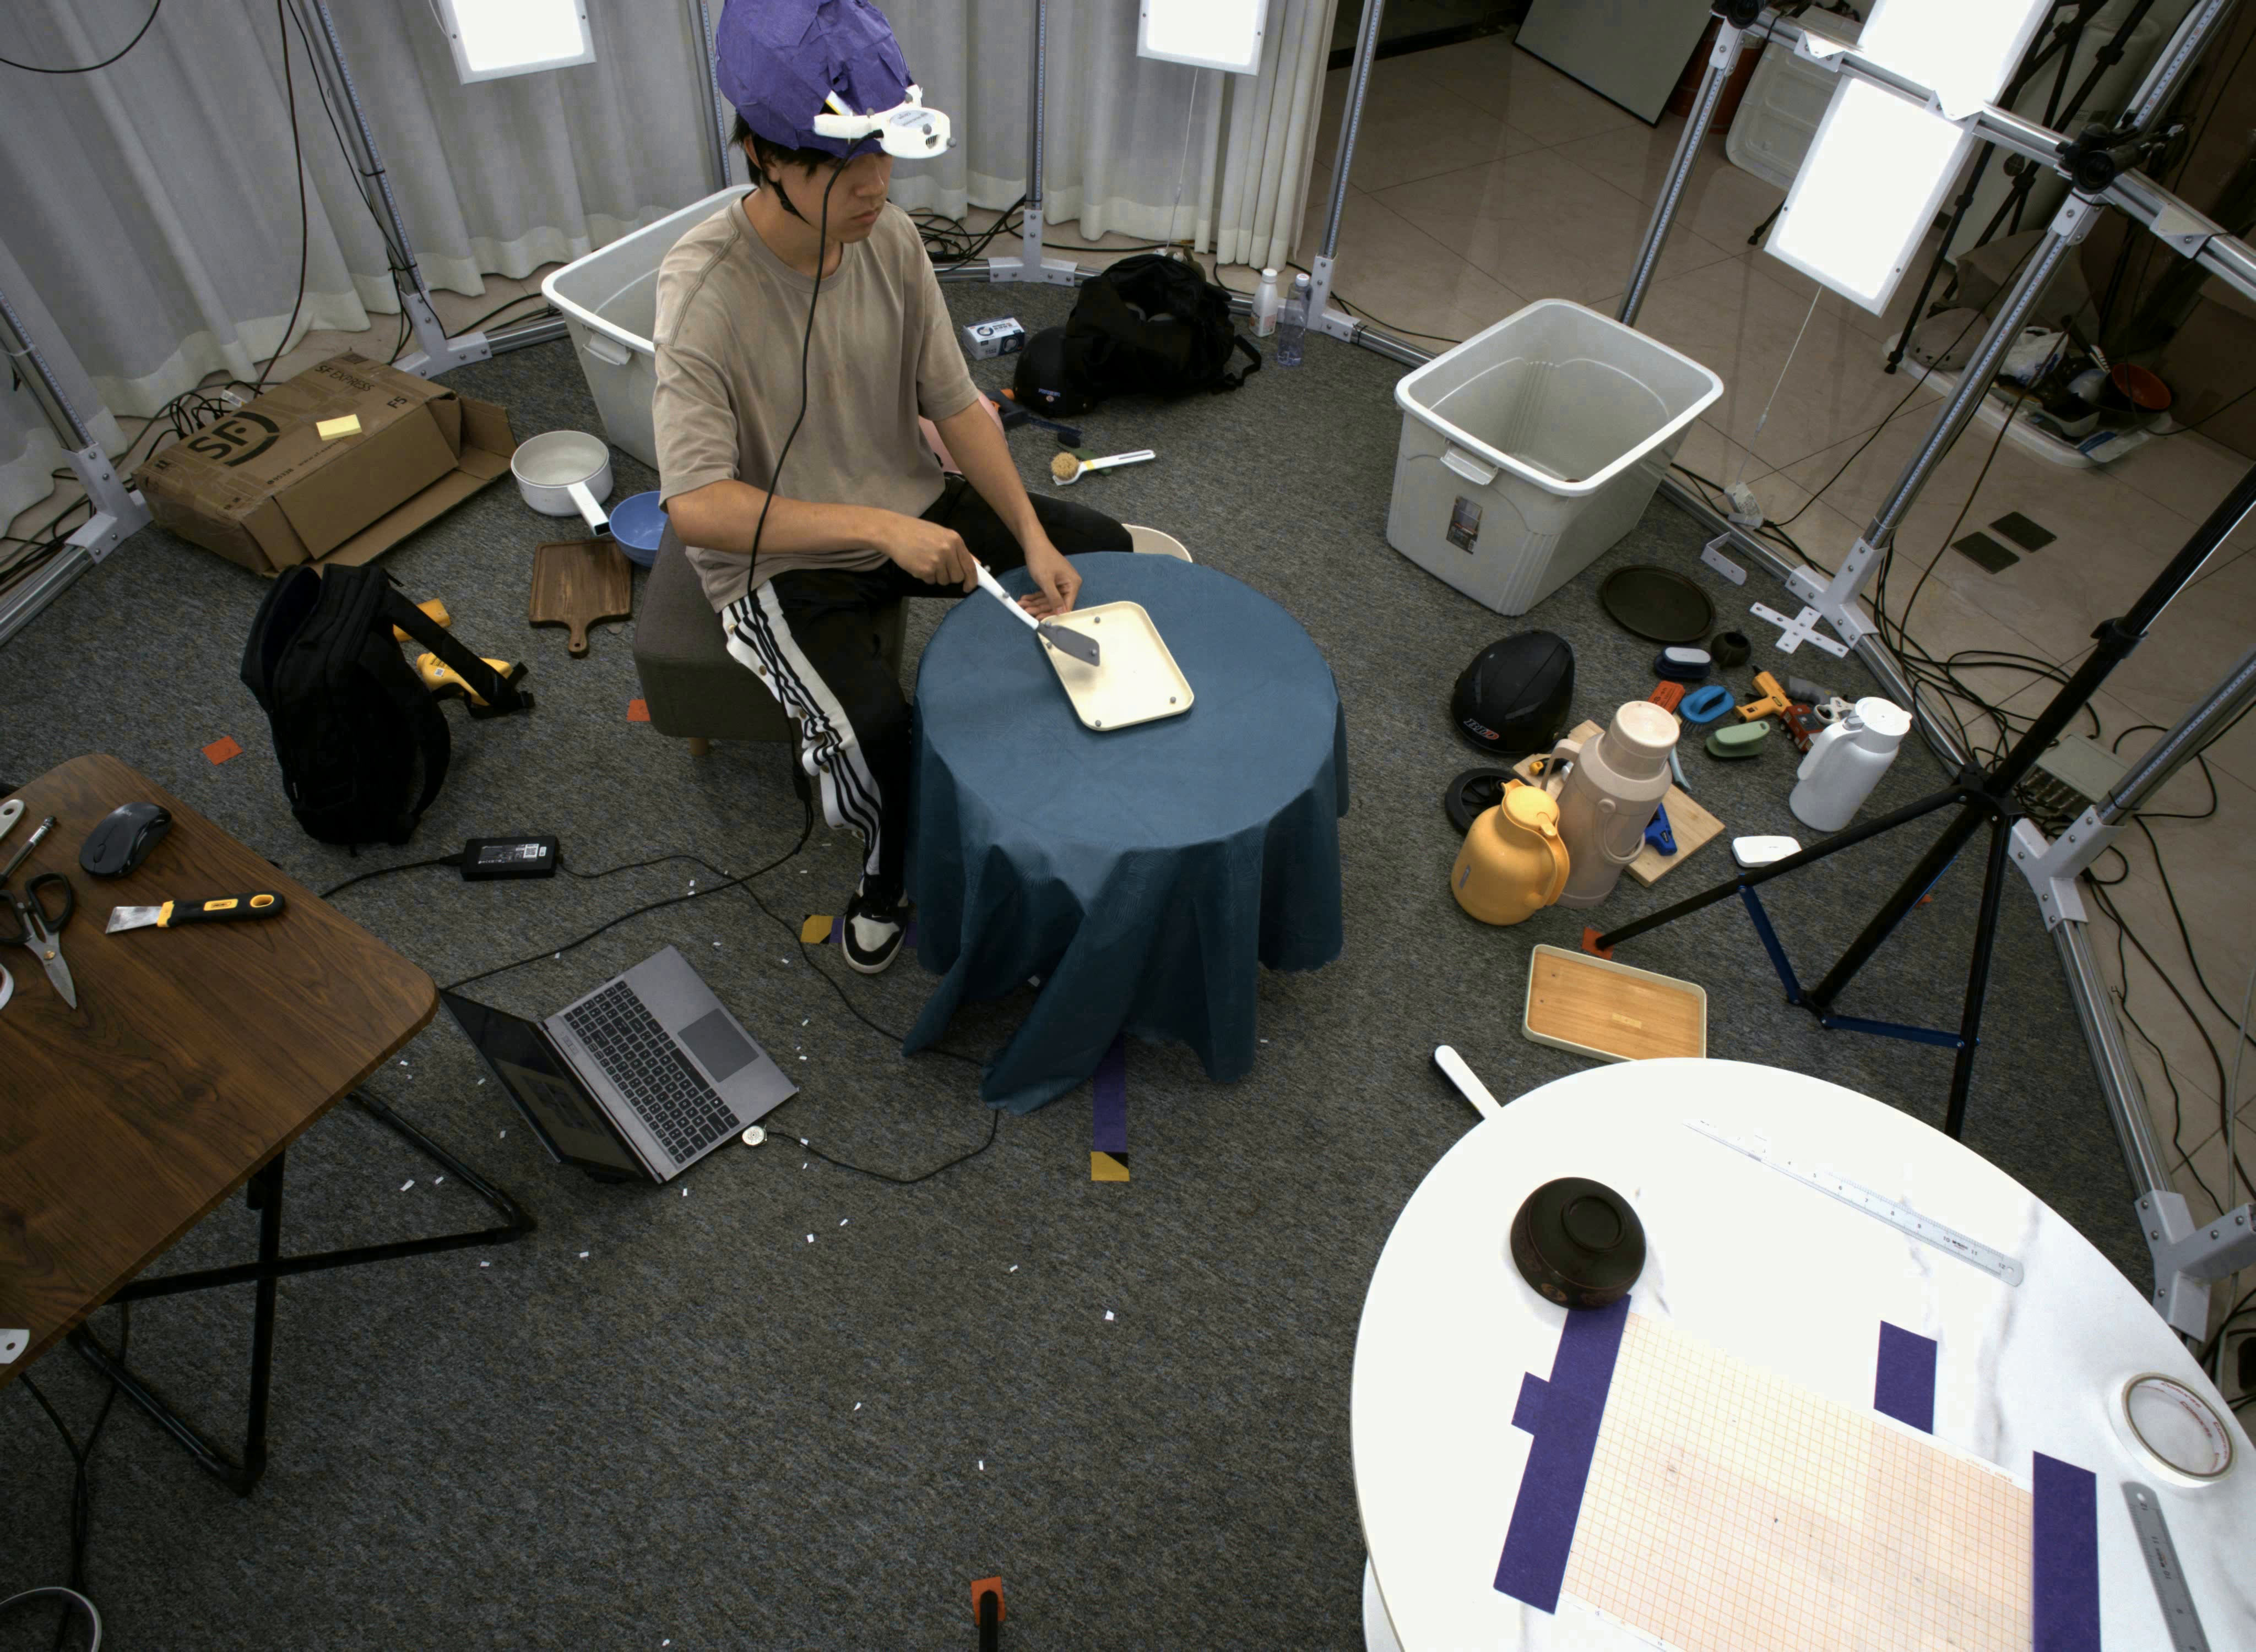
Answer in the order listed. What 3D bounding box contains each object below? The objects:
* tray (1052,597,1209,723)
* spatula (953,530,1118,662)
[{"bbox_3d":[0.001,-0.241,1.851,0.171,0.017,0.245,-13,51,-17],"label":"tray"},{"bbox_3d":[-0.119,-0.309,1.748,0.283,0.032,0.060,32,36,-35],"label":"spatula"}]
